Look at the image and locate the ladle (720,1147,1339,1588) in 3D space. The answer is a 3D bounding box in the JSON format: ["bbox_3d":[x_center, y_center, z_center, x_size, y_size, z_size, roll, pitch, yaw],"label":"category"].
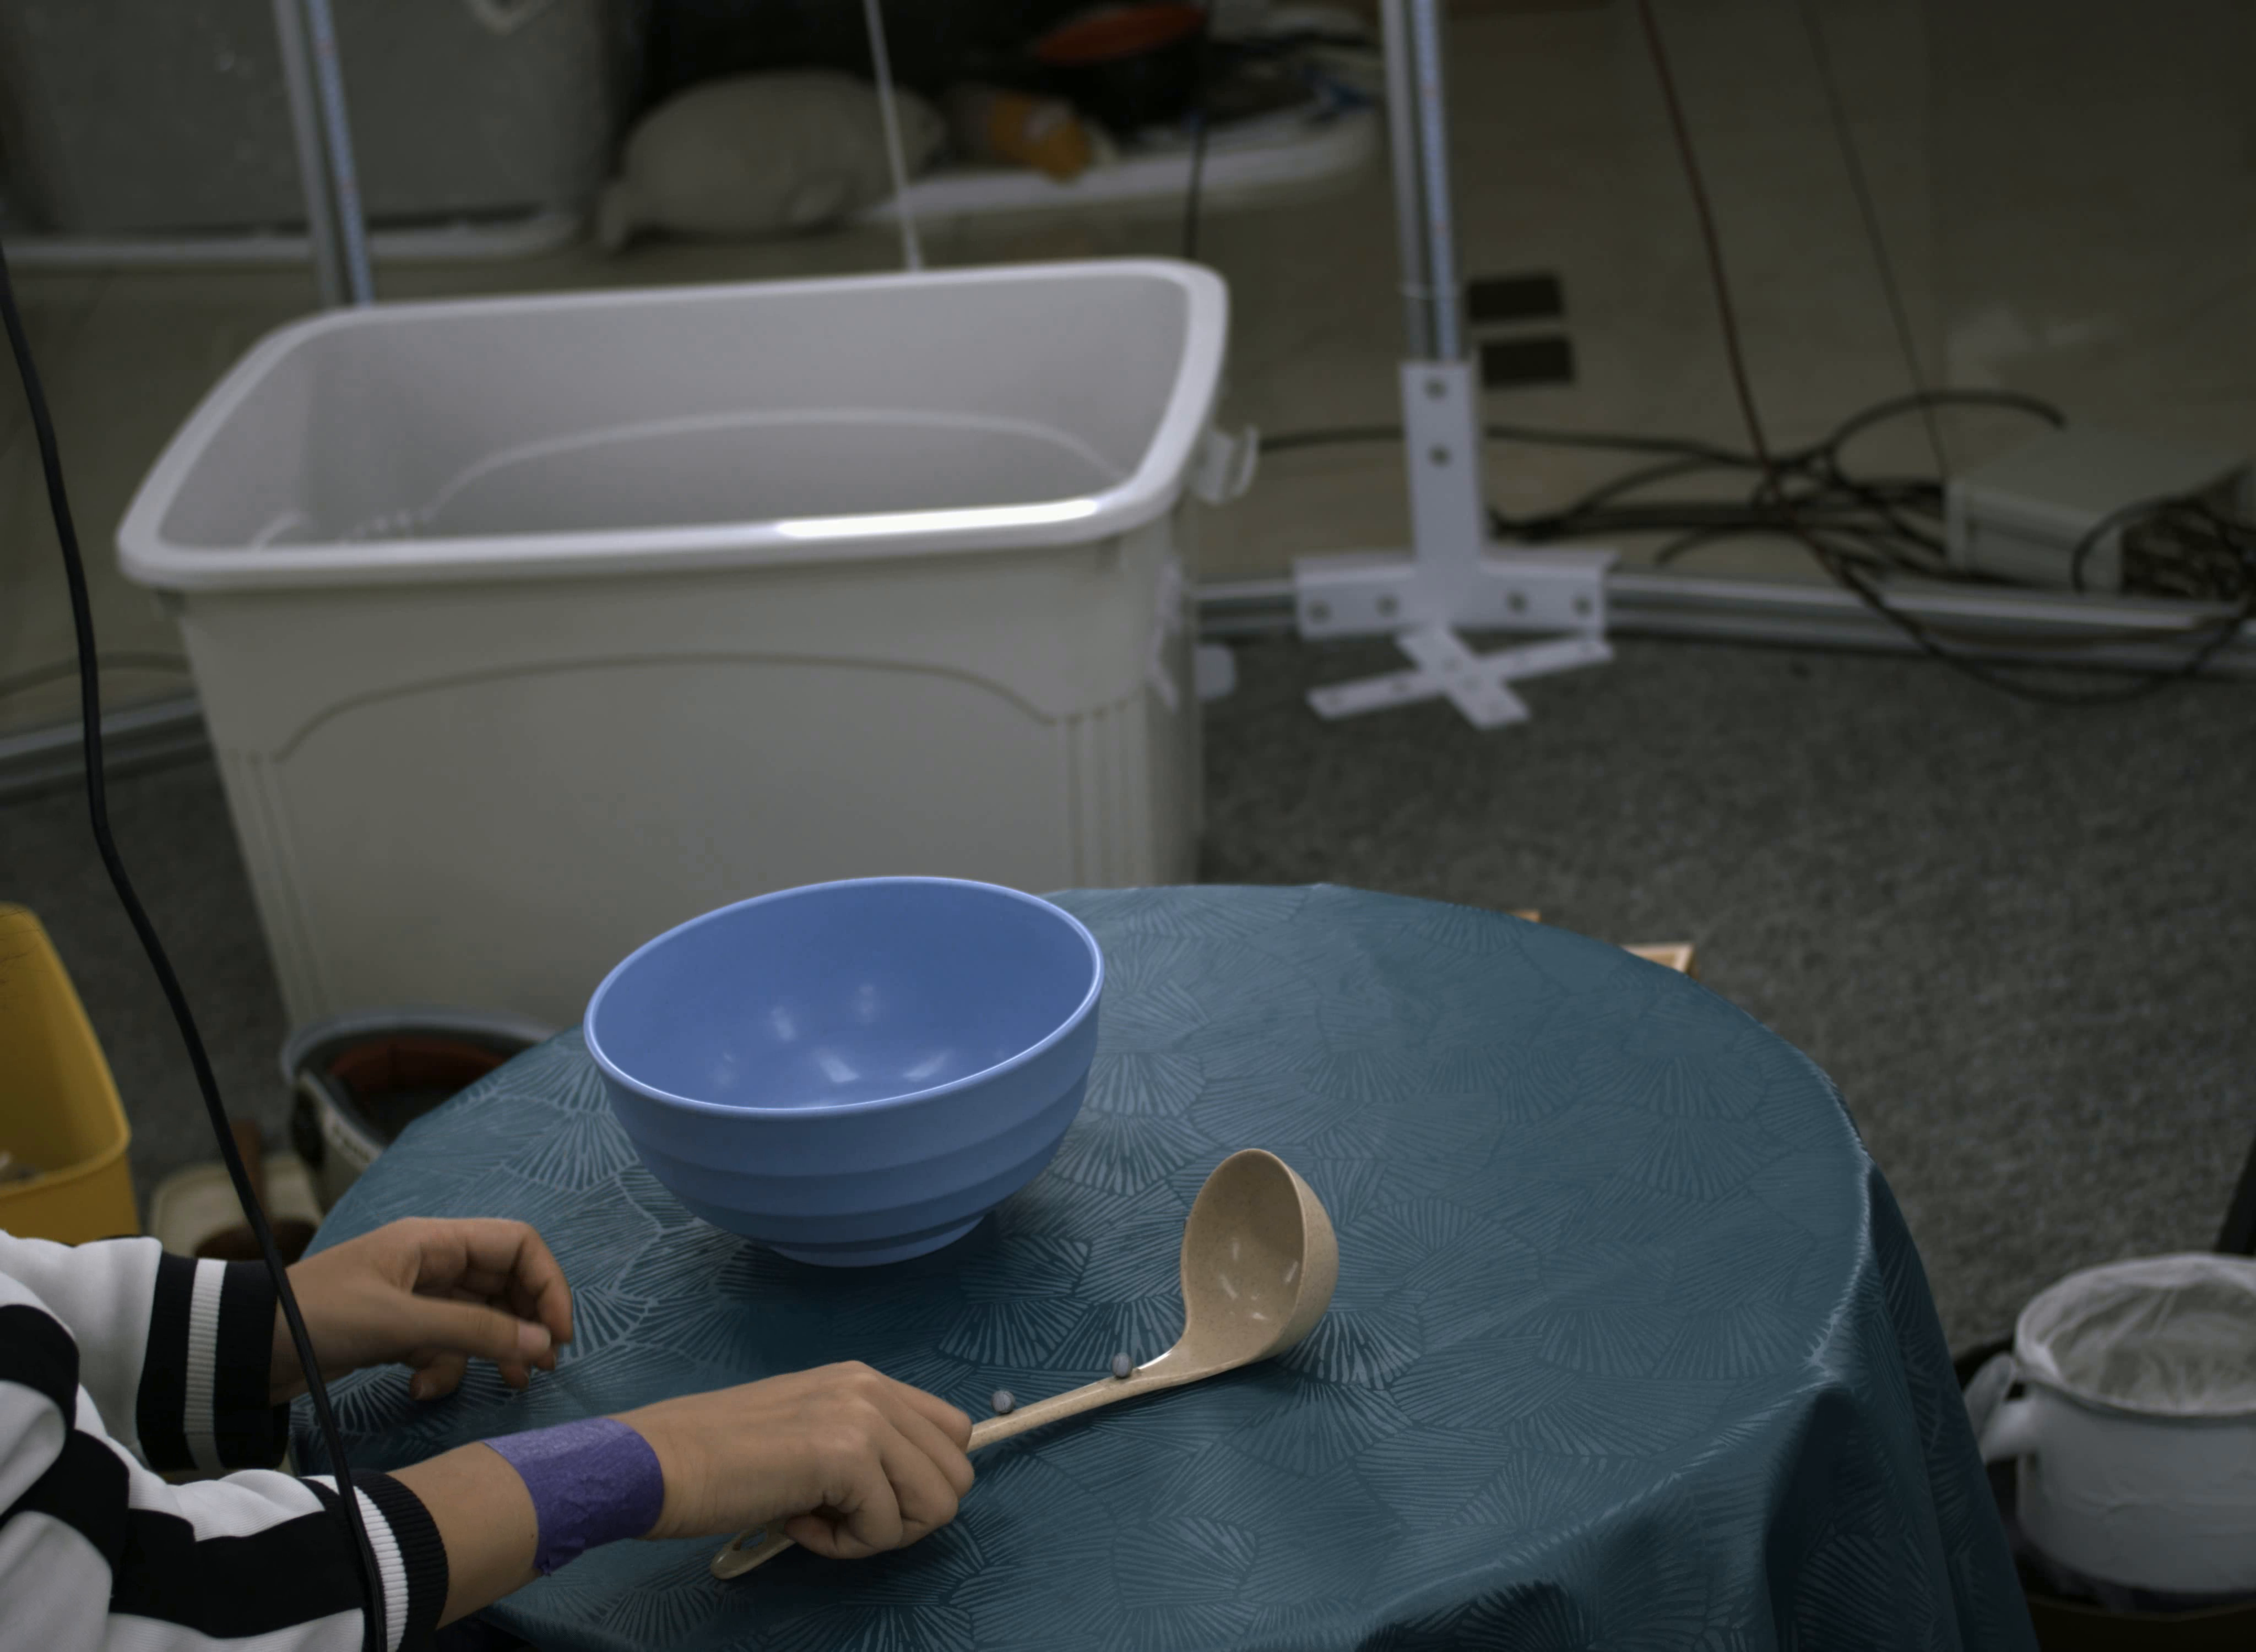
[{"bbox_3d":[-0.038,0.184,1.973,0.253,0.074,0.071,-21,28,-29],"label":"ladle"}]

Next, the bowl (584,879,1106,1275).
[{"bbox_3d":[-0.102,0.106,2.138,0.196,0.097,0.193,-5,27,2],"label":"bowl"}]
